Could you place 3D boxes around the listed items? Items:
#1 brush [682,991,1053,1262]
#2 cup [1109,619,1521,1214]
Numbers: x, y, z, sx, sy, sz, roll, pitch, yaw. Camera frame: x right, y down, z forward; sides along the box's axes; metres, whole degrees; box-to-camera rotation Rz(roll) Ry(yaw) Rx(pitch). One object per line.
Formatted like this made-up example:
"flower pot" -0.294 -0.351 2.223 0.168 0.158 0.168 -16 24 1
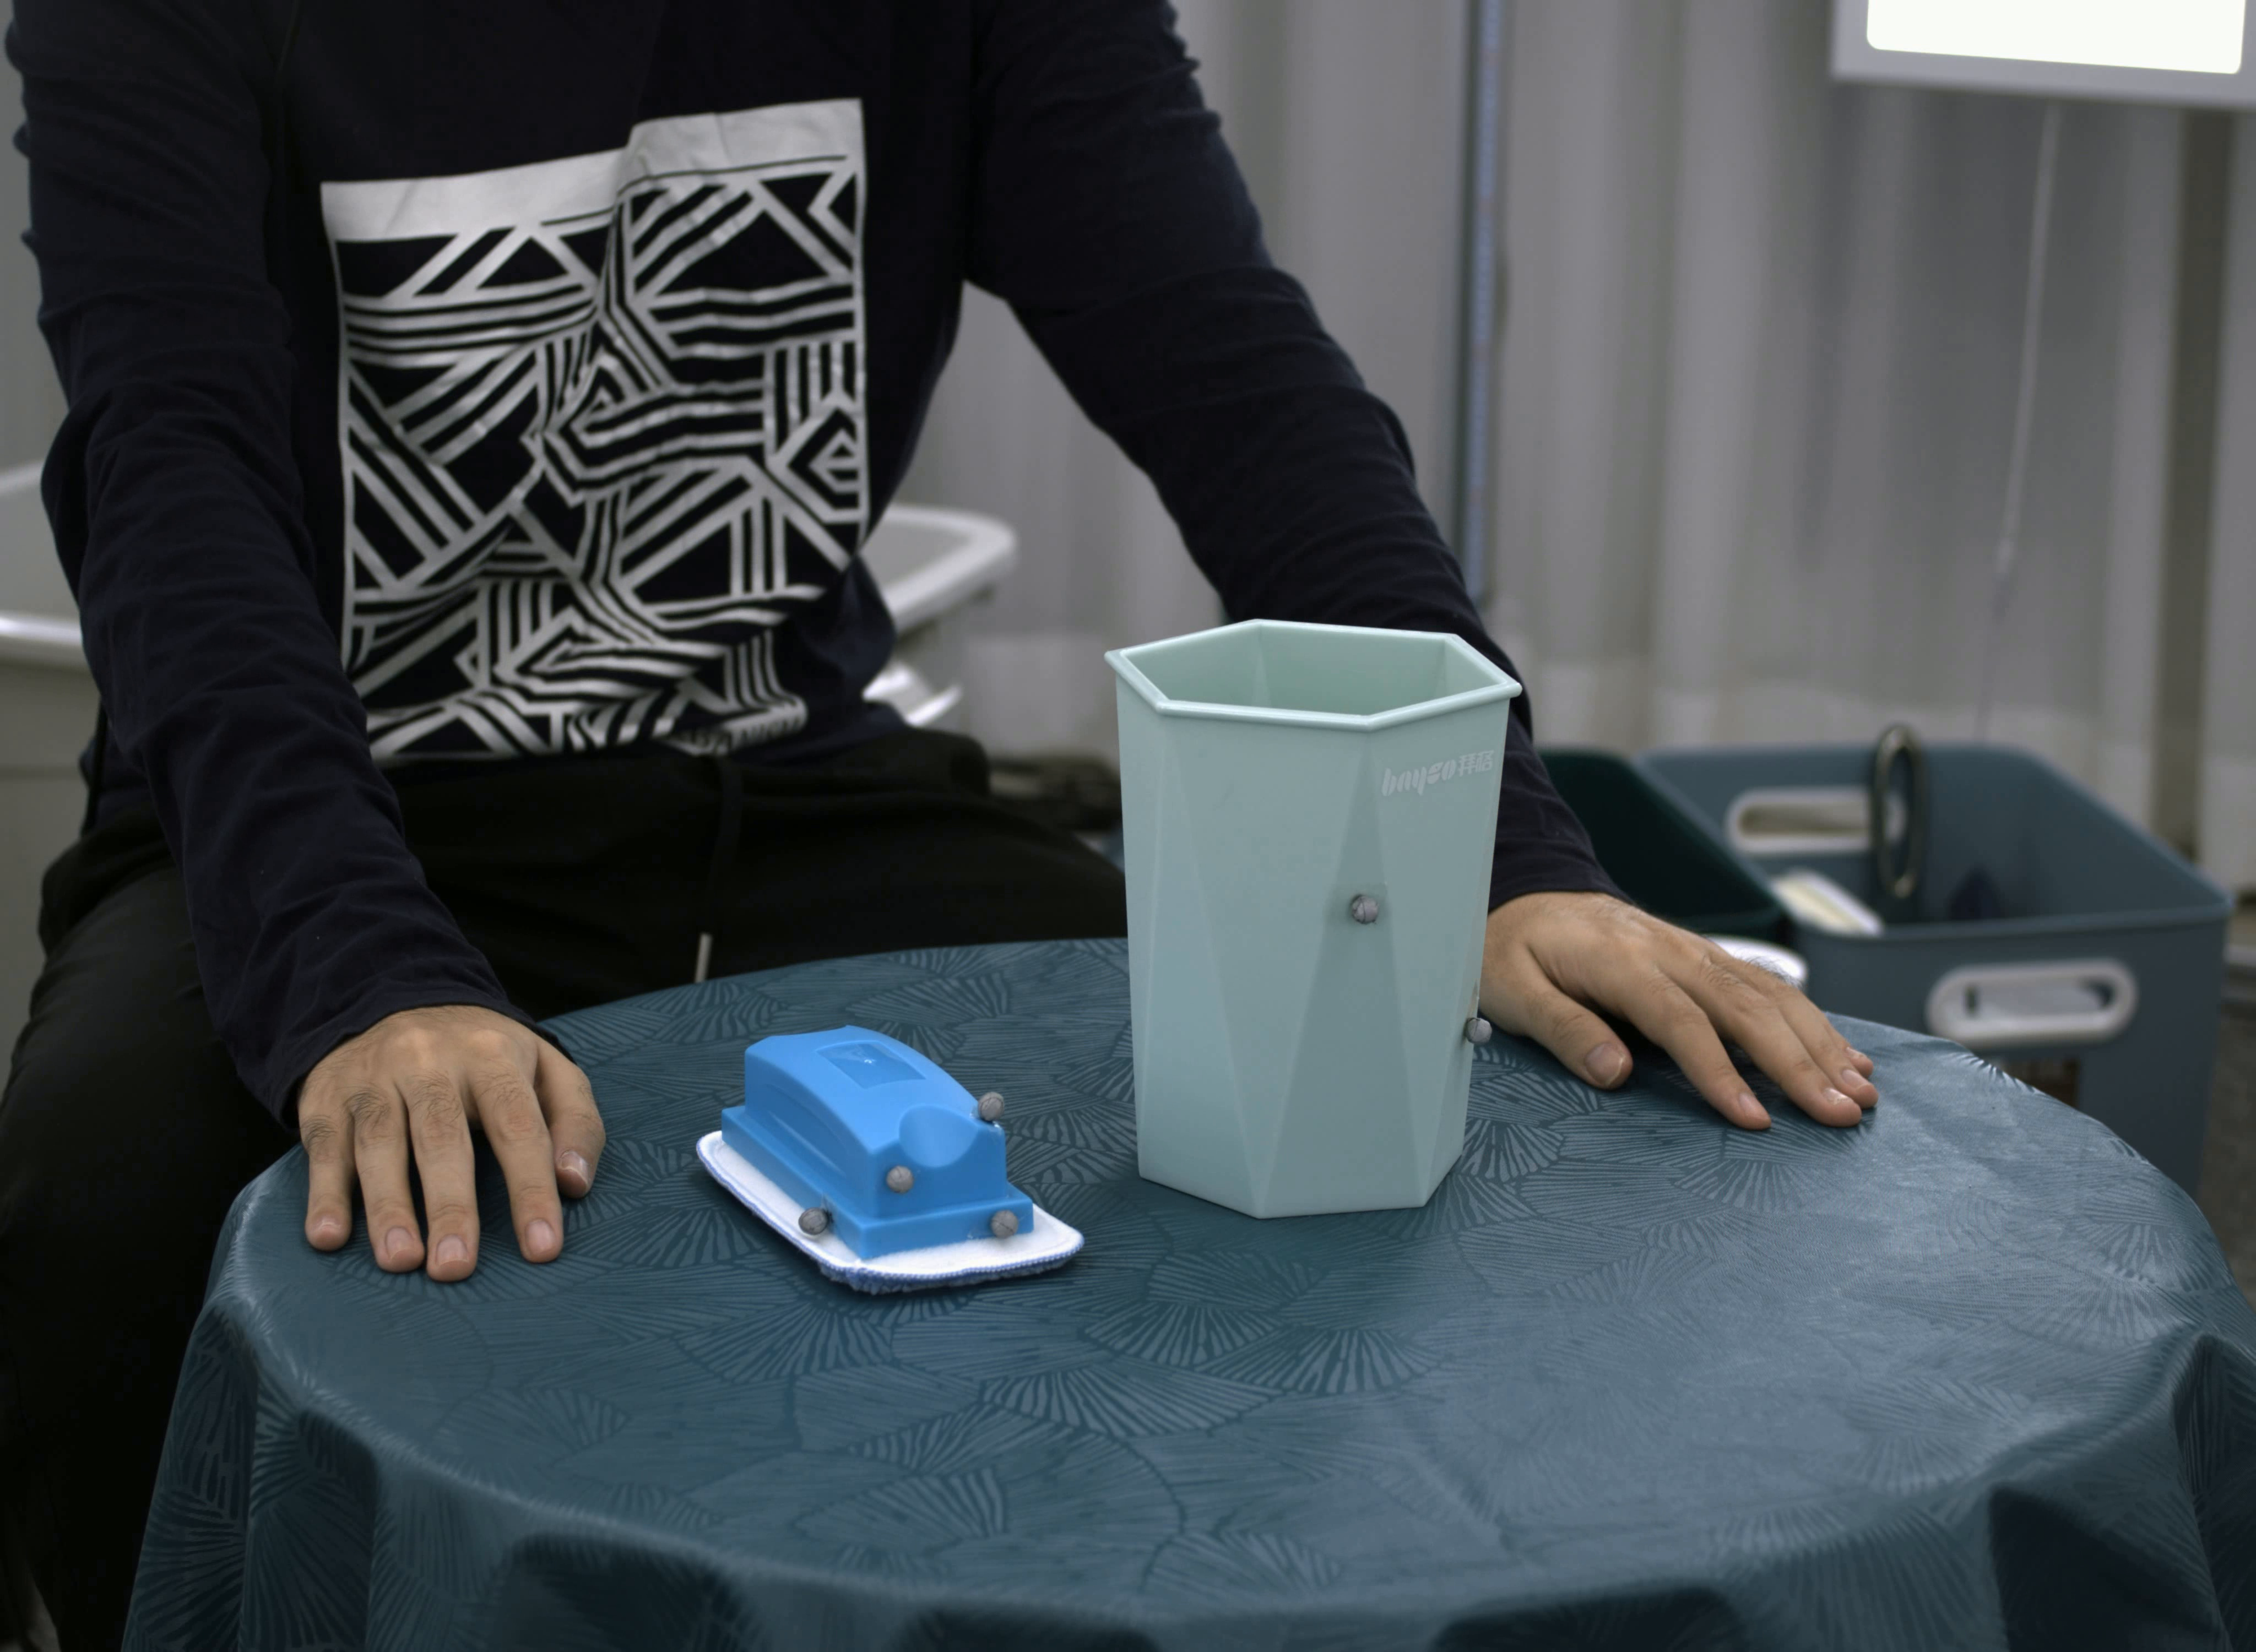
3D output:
"brush" -0.078 0.088 1.595 0.084 0.056 0.142 -3 18 -23
"cup" 0.057 0.028 1.626 0.113 0.164 0.131 14 21 43
